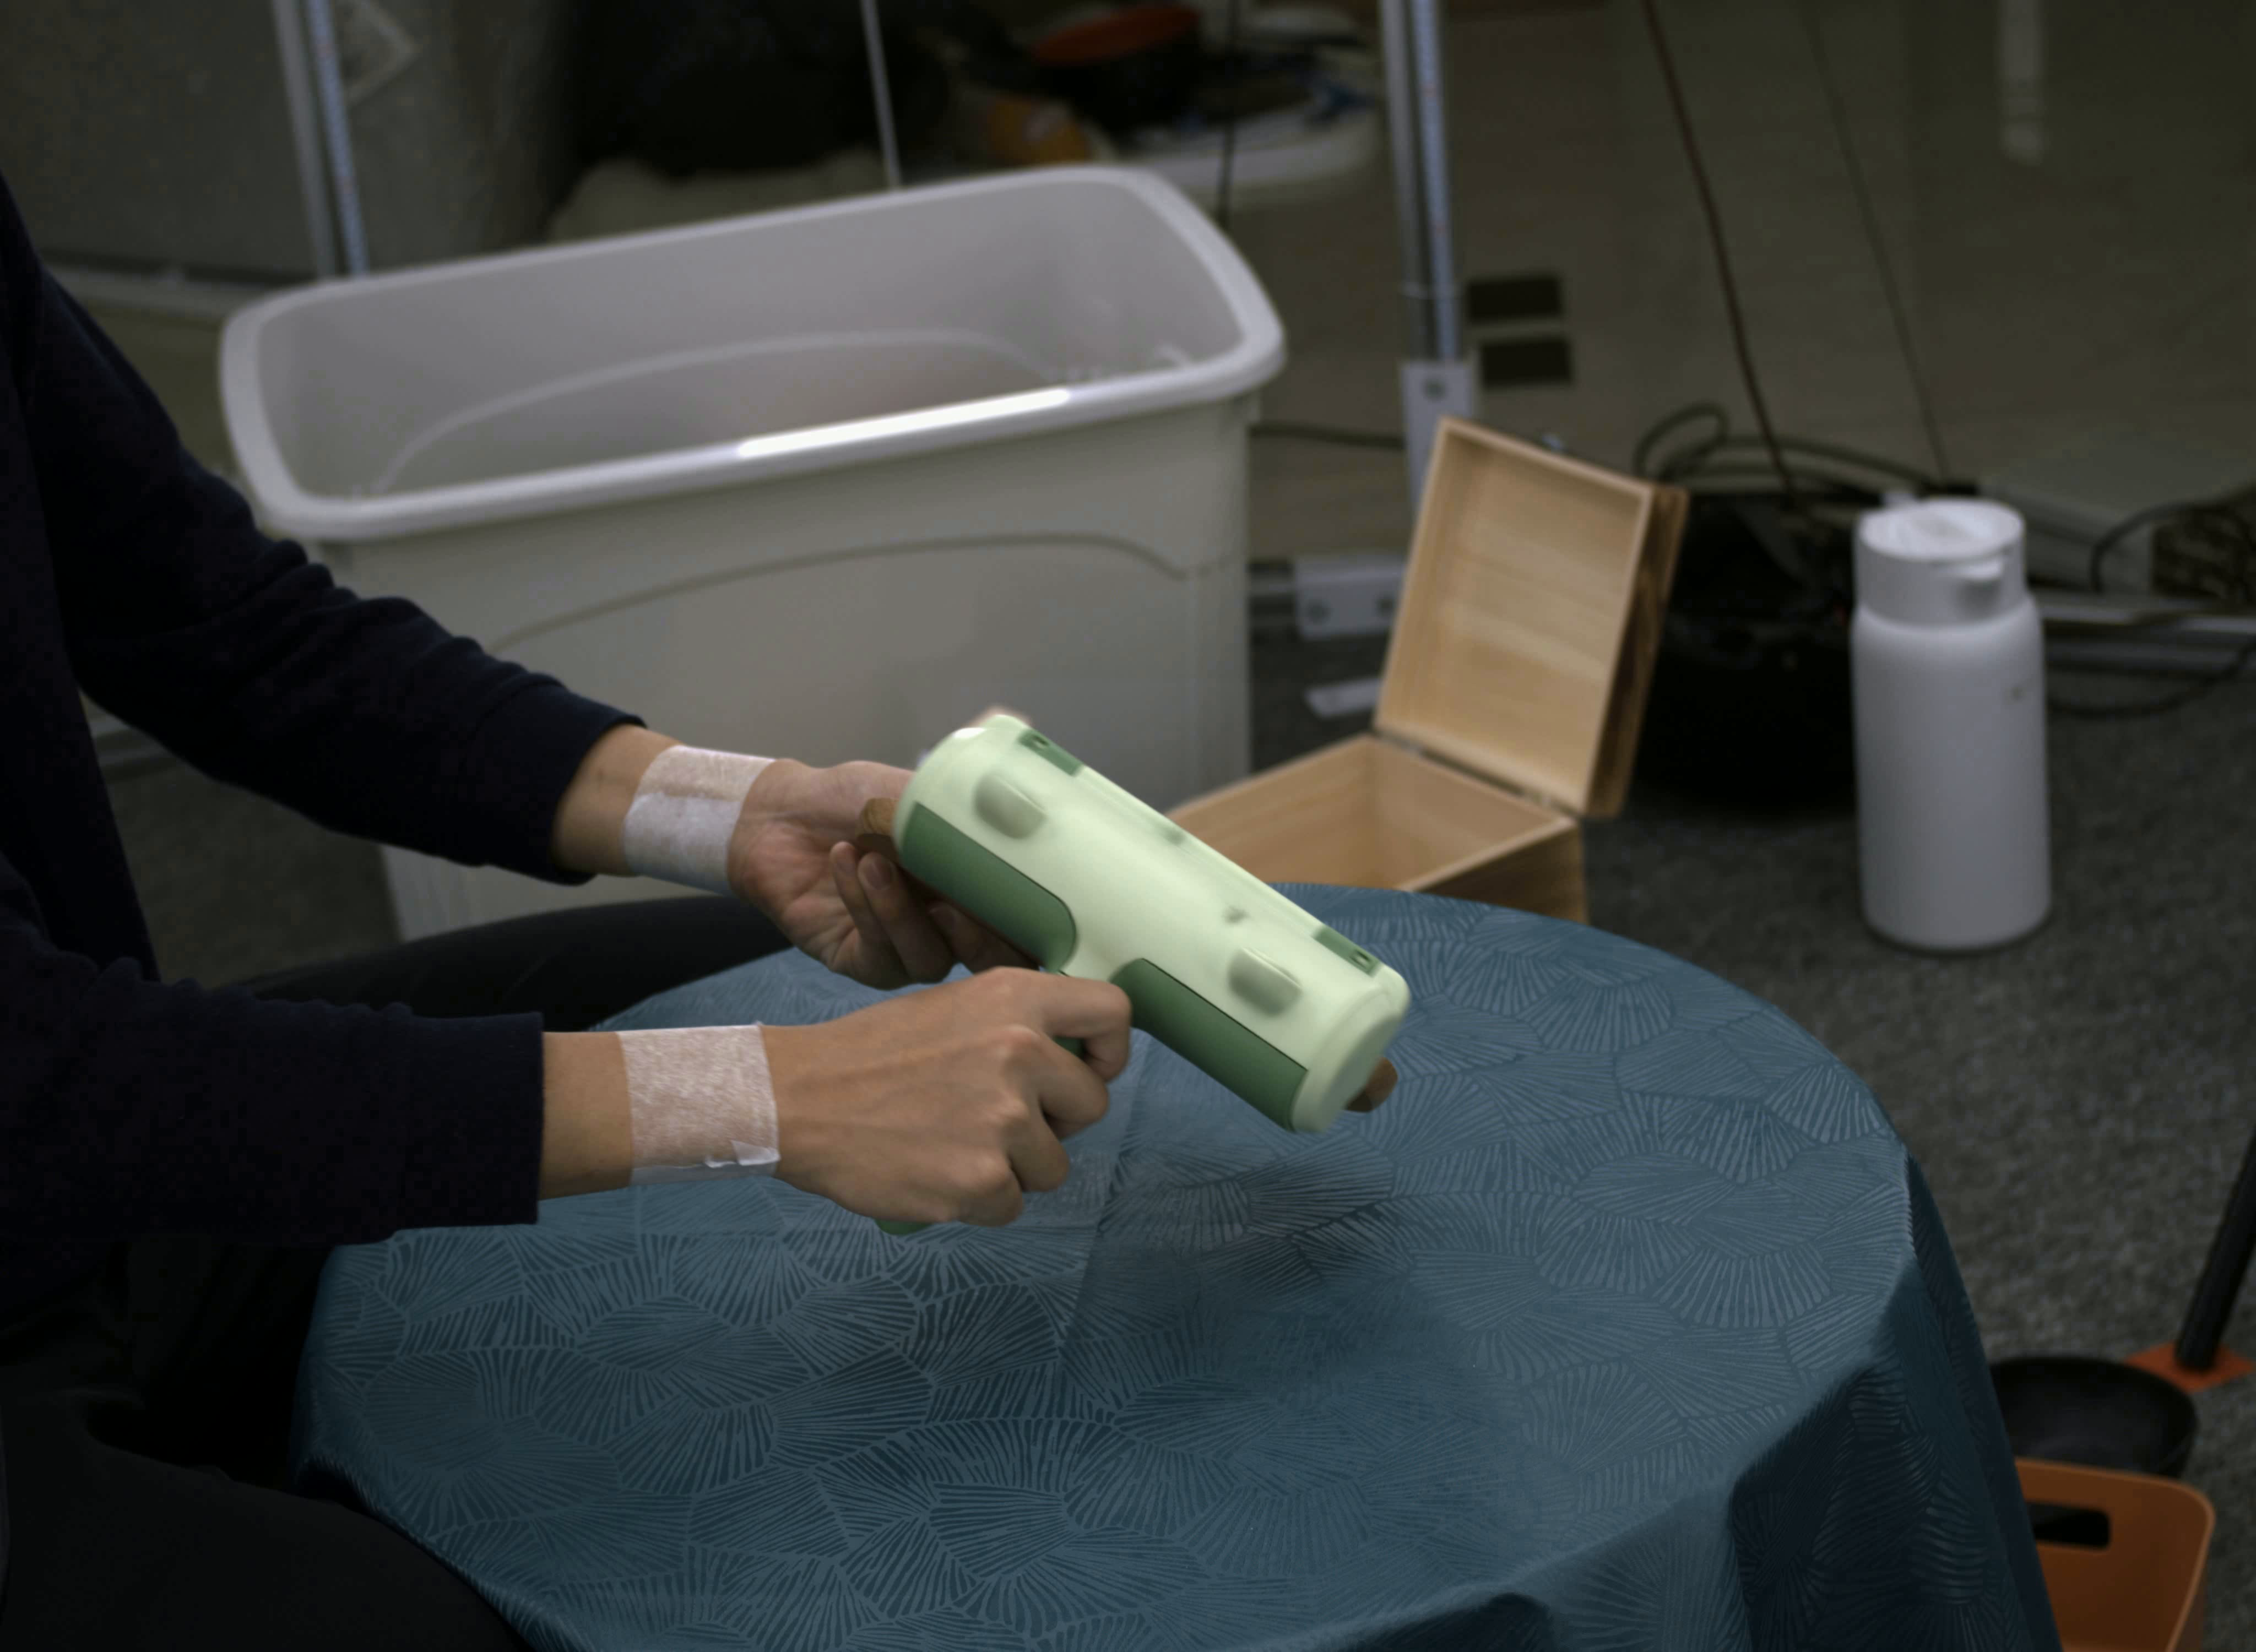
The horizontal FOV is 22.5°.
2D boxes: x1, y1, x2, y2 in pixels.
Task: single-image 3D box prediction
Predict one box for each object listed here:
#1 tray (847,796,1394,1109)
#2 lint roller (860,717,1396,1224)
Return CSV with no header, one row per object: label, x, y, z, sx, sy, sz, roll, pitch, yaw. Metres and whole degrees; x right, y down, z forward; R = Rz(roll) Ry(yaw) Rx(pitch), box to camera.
tray,-0.005,0.048,2.113,0.230,0.103,0.020,24,73,17
lint roller,-0.033,0.062,2.003,0.197,0.084,0.181,33,57,18
